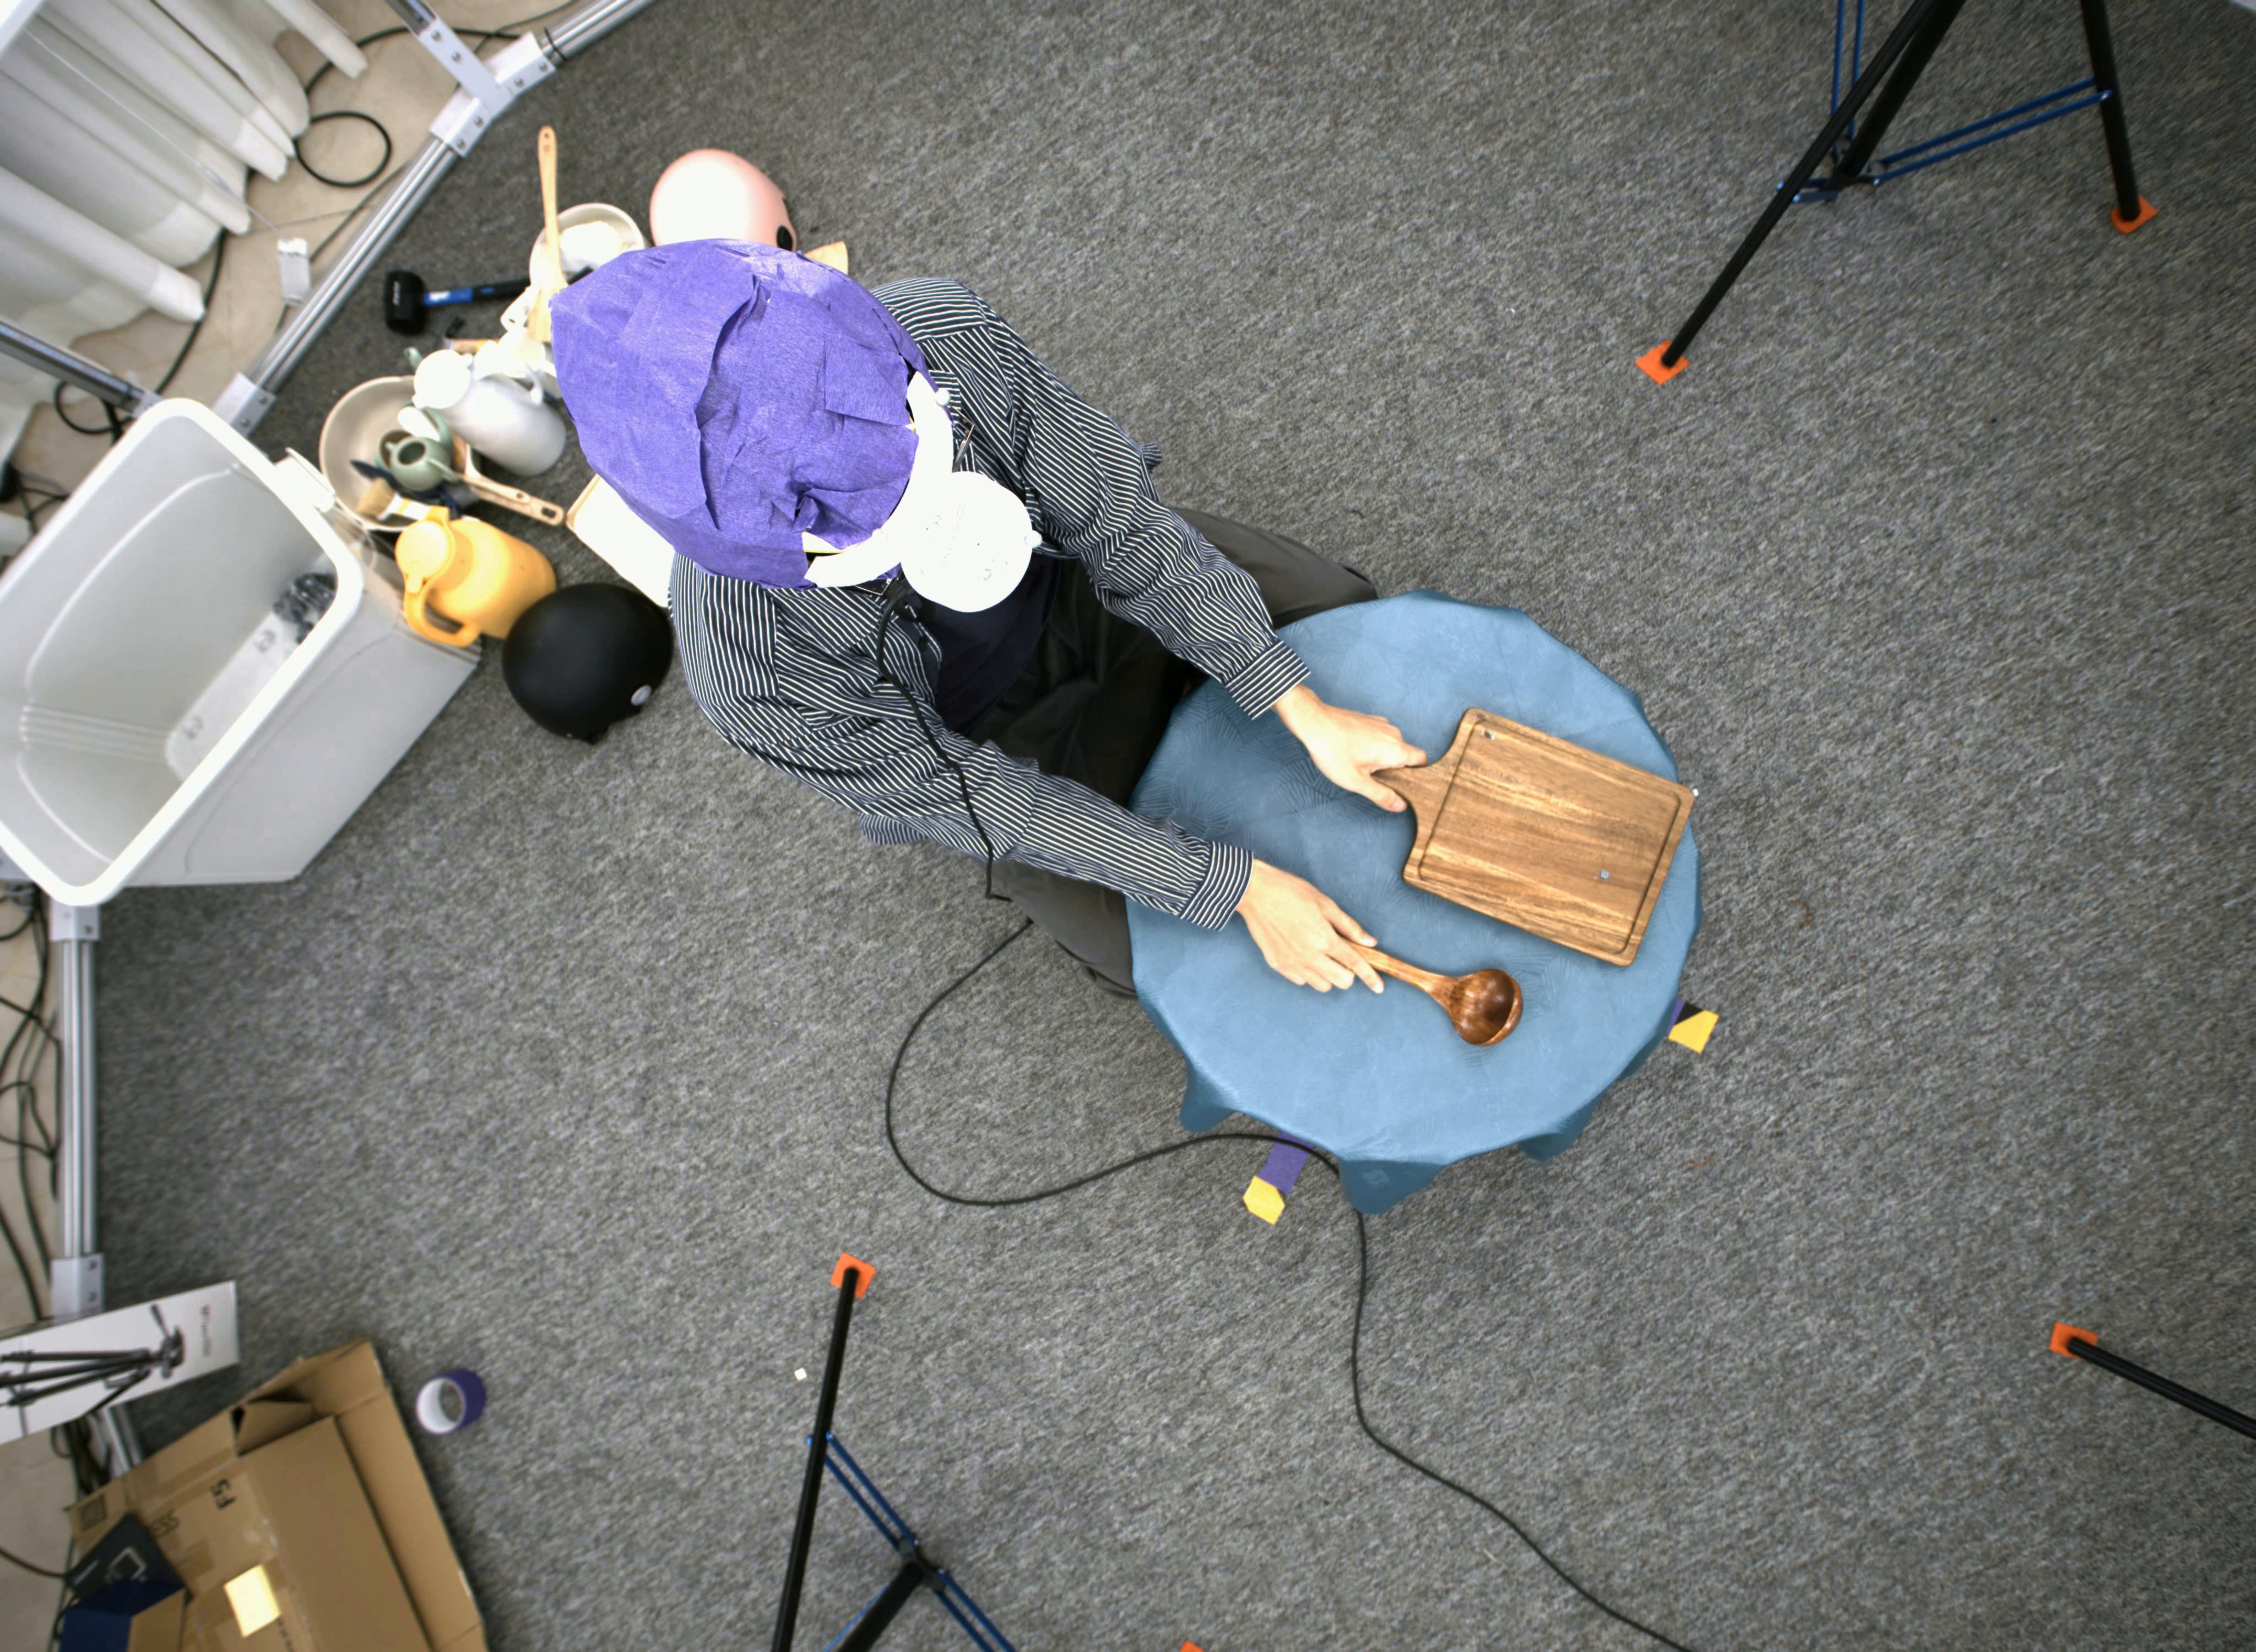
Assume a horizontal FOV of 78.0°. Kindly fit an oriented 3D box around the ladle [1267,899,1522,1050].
[{"bbox_3d":[0.267,0.141,1.403,0.274,0.077,0.081,25,85,7],"label":"ladle"}]

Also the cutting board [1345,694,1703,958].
[{"bbox_3d":[0.389,-0.022,1.405,0.352,0.023,0.201,22,91,5],"label":"cutting board"}]
